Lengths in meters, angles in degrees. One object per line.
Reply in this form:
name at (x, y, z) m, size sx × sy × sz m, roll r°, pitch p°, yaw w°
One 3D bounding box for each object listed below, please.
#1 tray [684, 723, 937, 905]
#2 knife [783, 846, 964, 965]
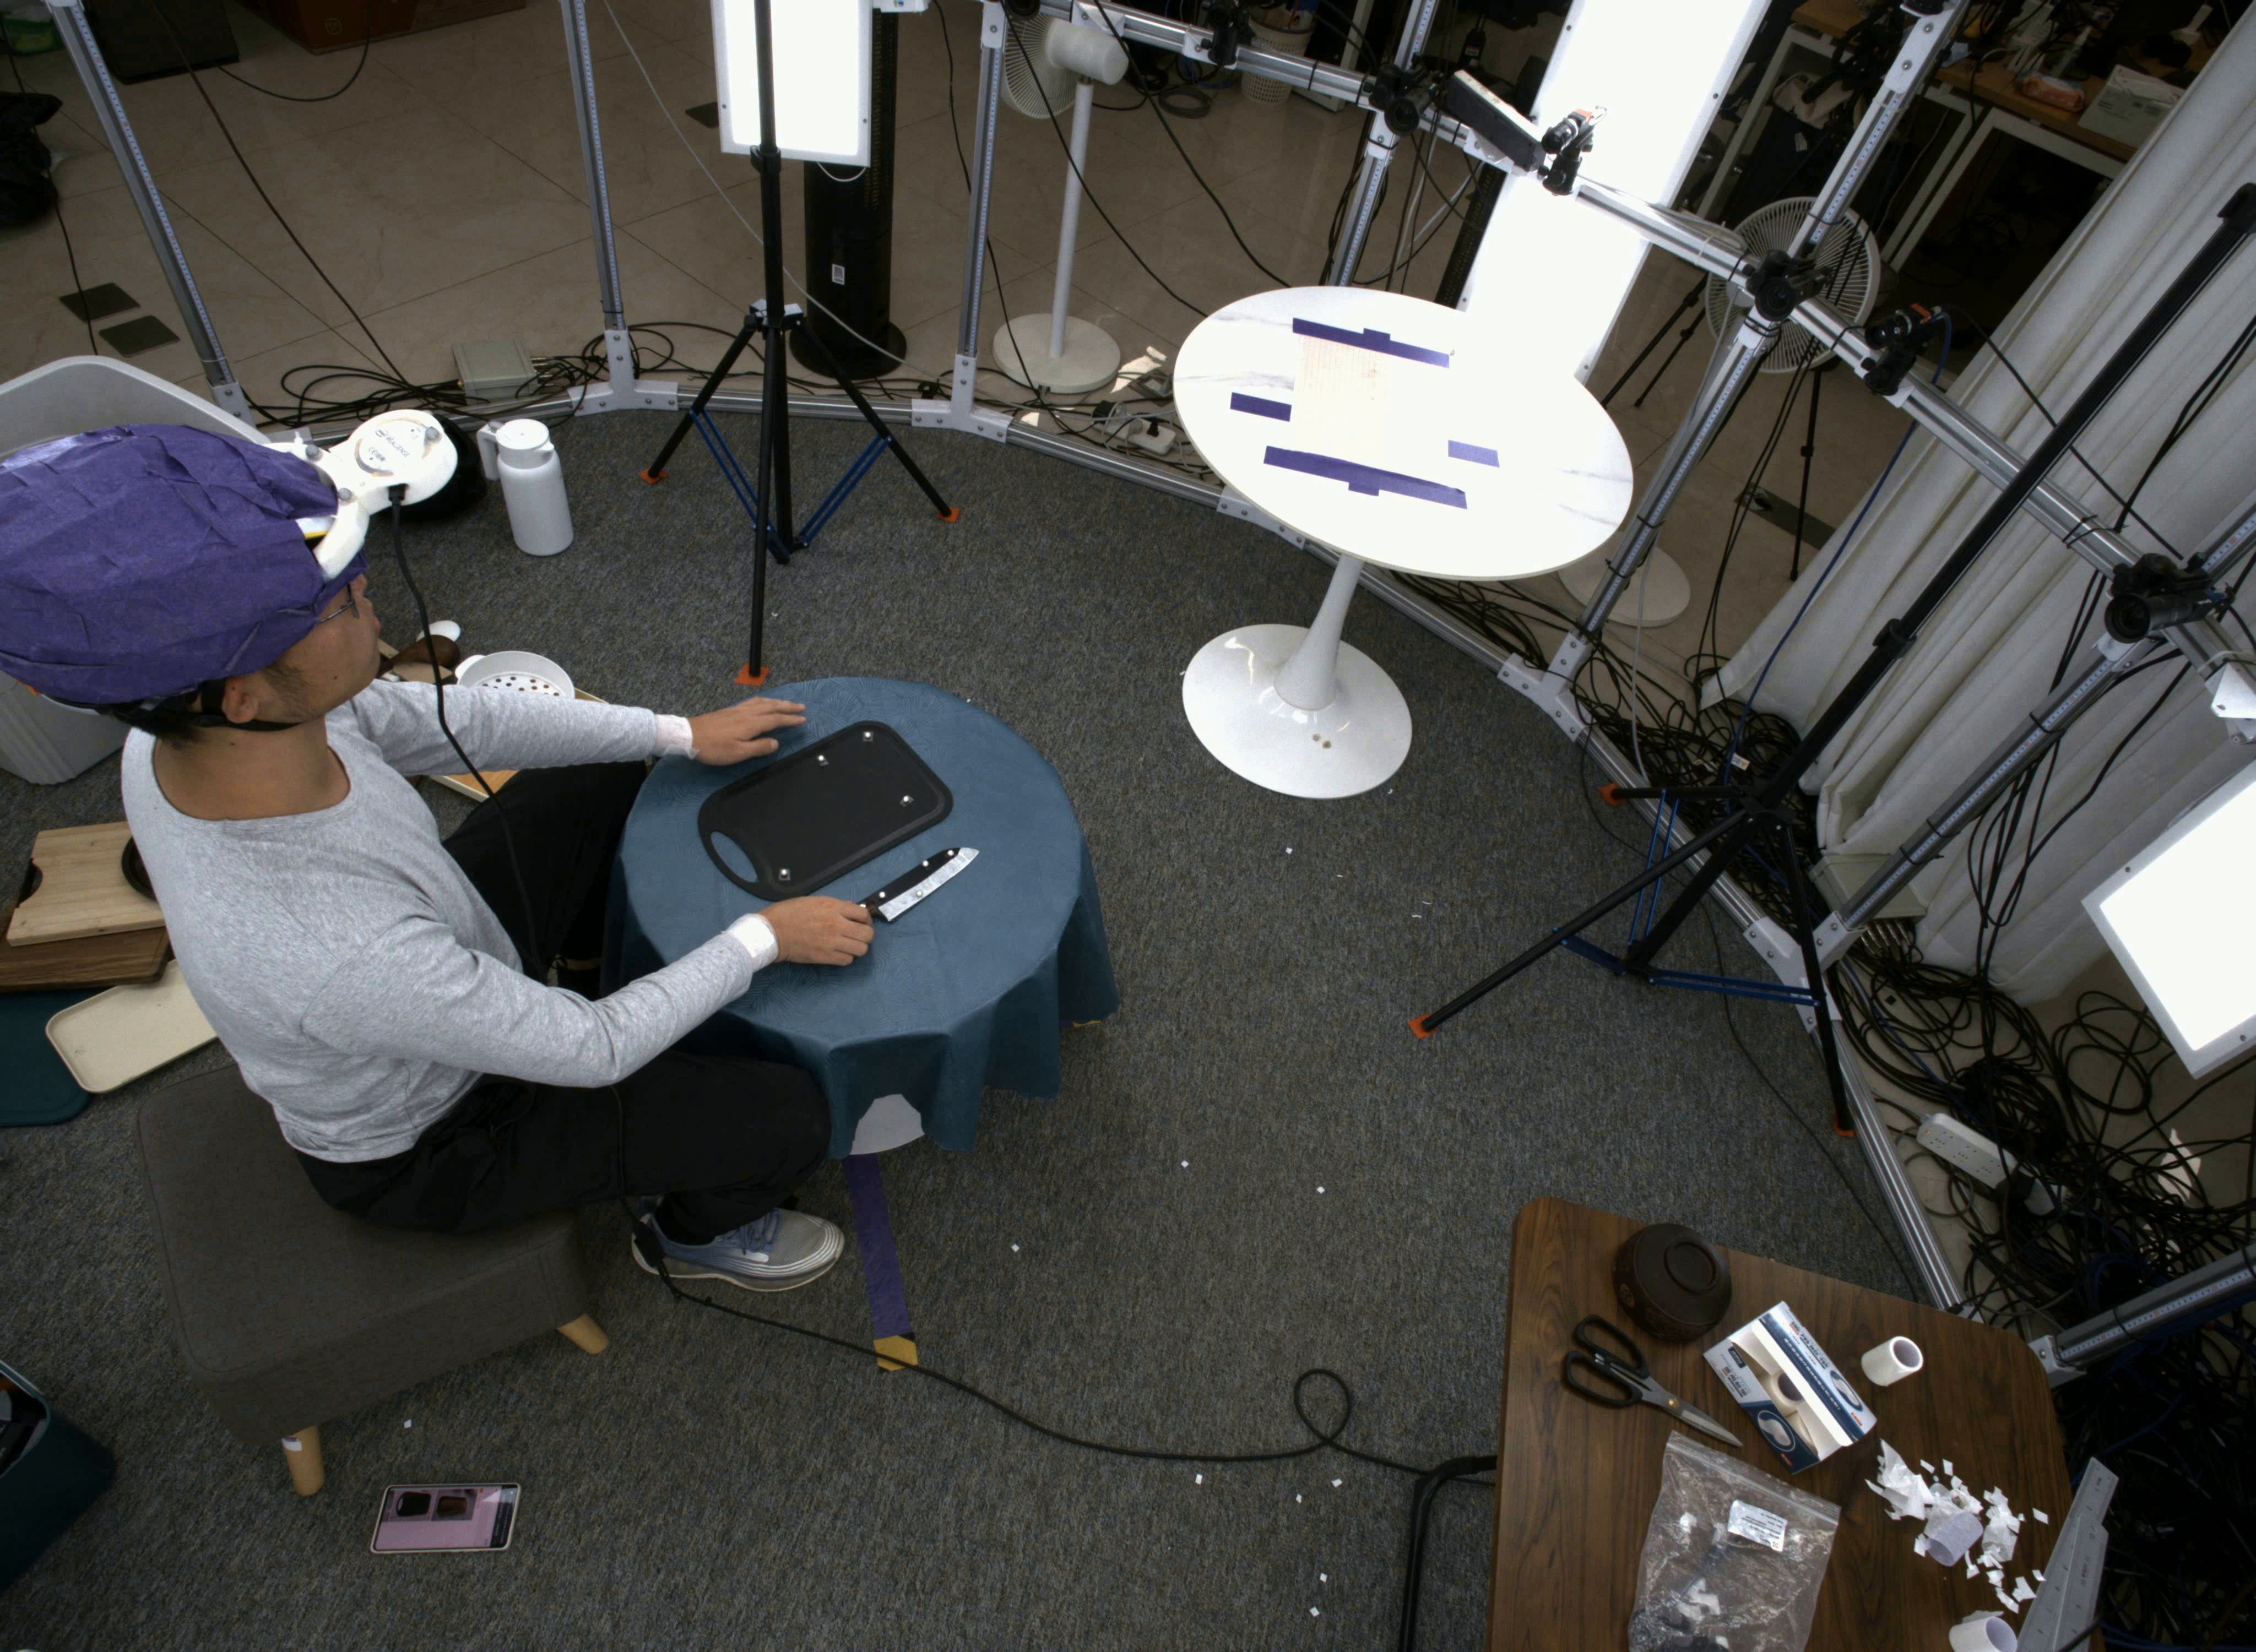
tray at (-0.430, -0.021, 1.745) m, size 0.326 × 0.010 × 0.206 m, roll -32°, pitch 67°, yaw -31°
knife at (-0.323, 0.096, 1.681) m, size 0.290 × 0.020 × 0.049 m, roll -34°, pitch 73°, yaw -35°
